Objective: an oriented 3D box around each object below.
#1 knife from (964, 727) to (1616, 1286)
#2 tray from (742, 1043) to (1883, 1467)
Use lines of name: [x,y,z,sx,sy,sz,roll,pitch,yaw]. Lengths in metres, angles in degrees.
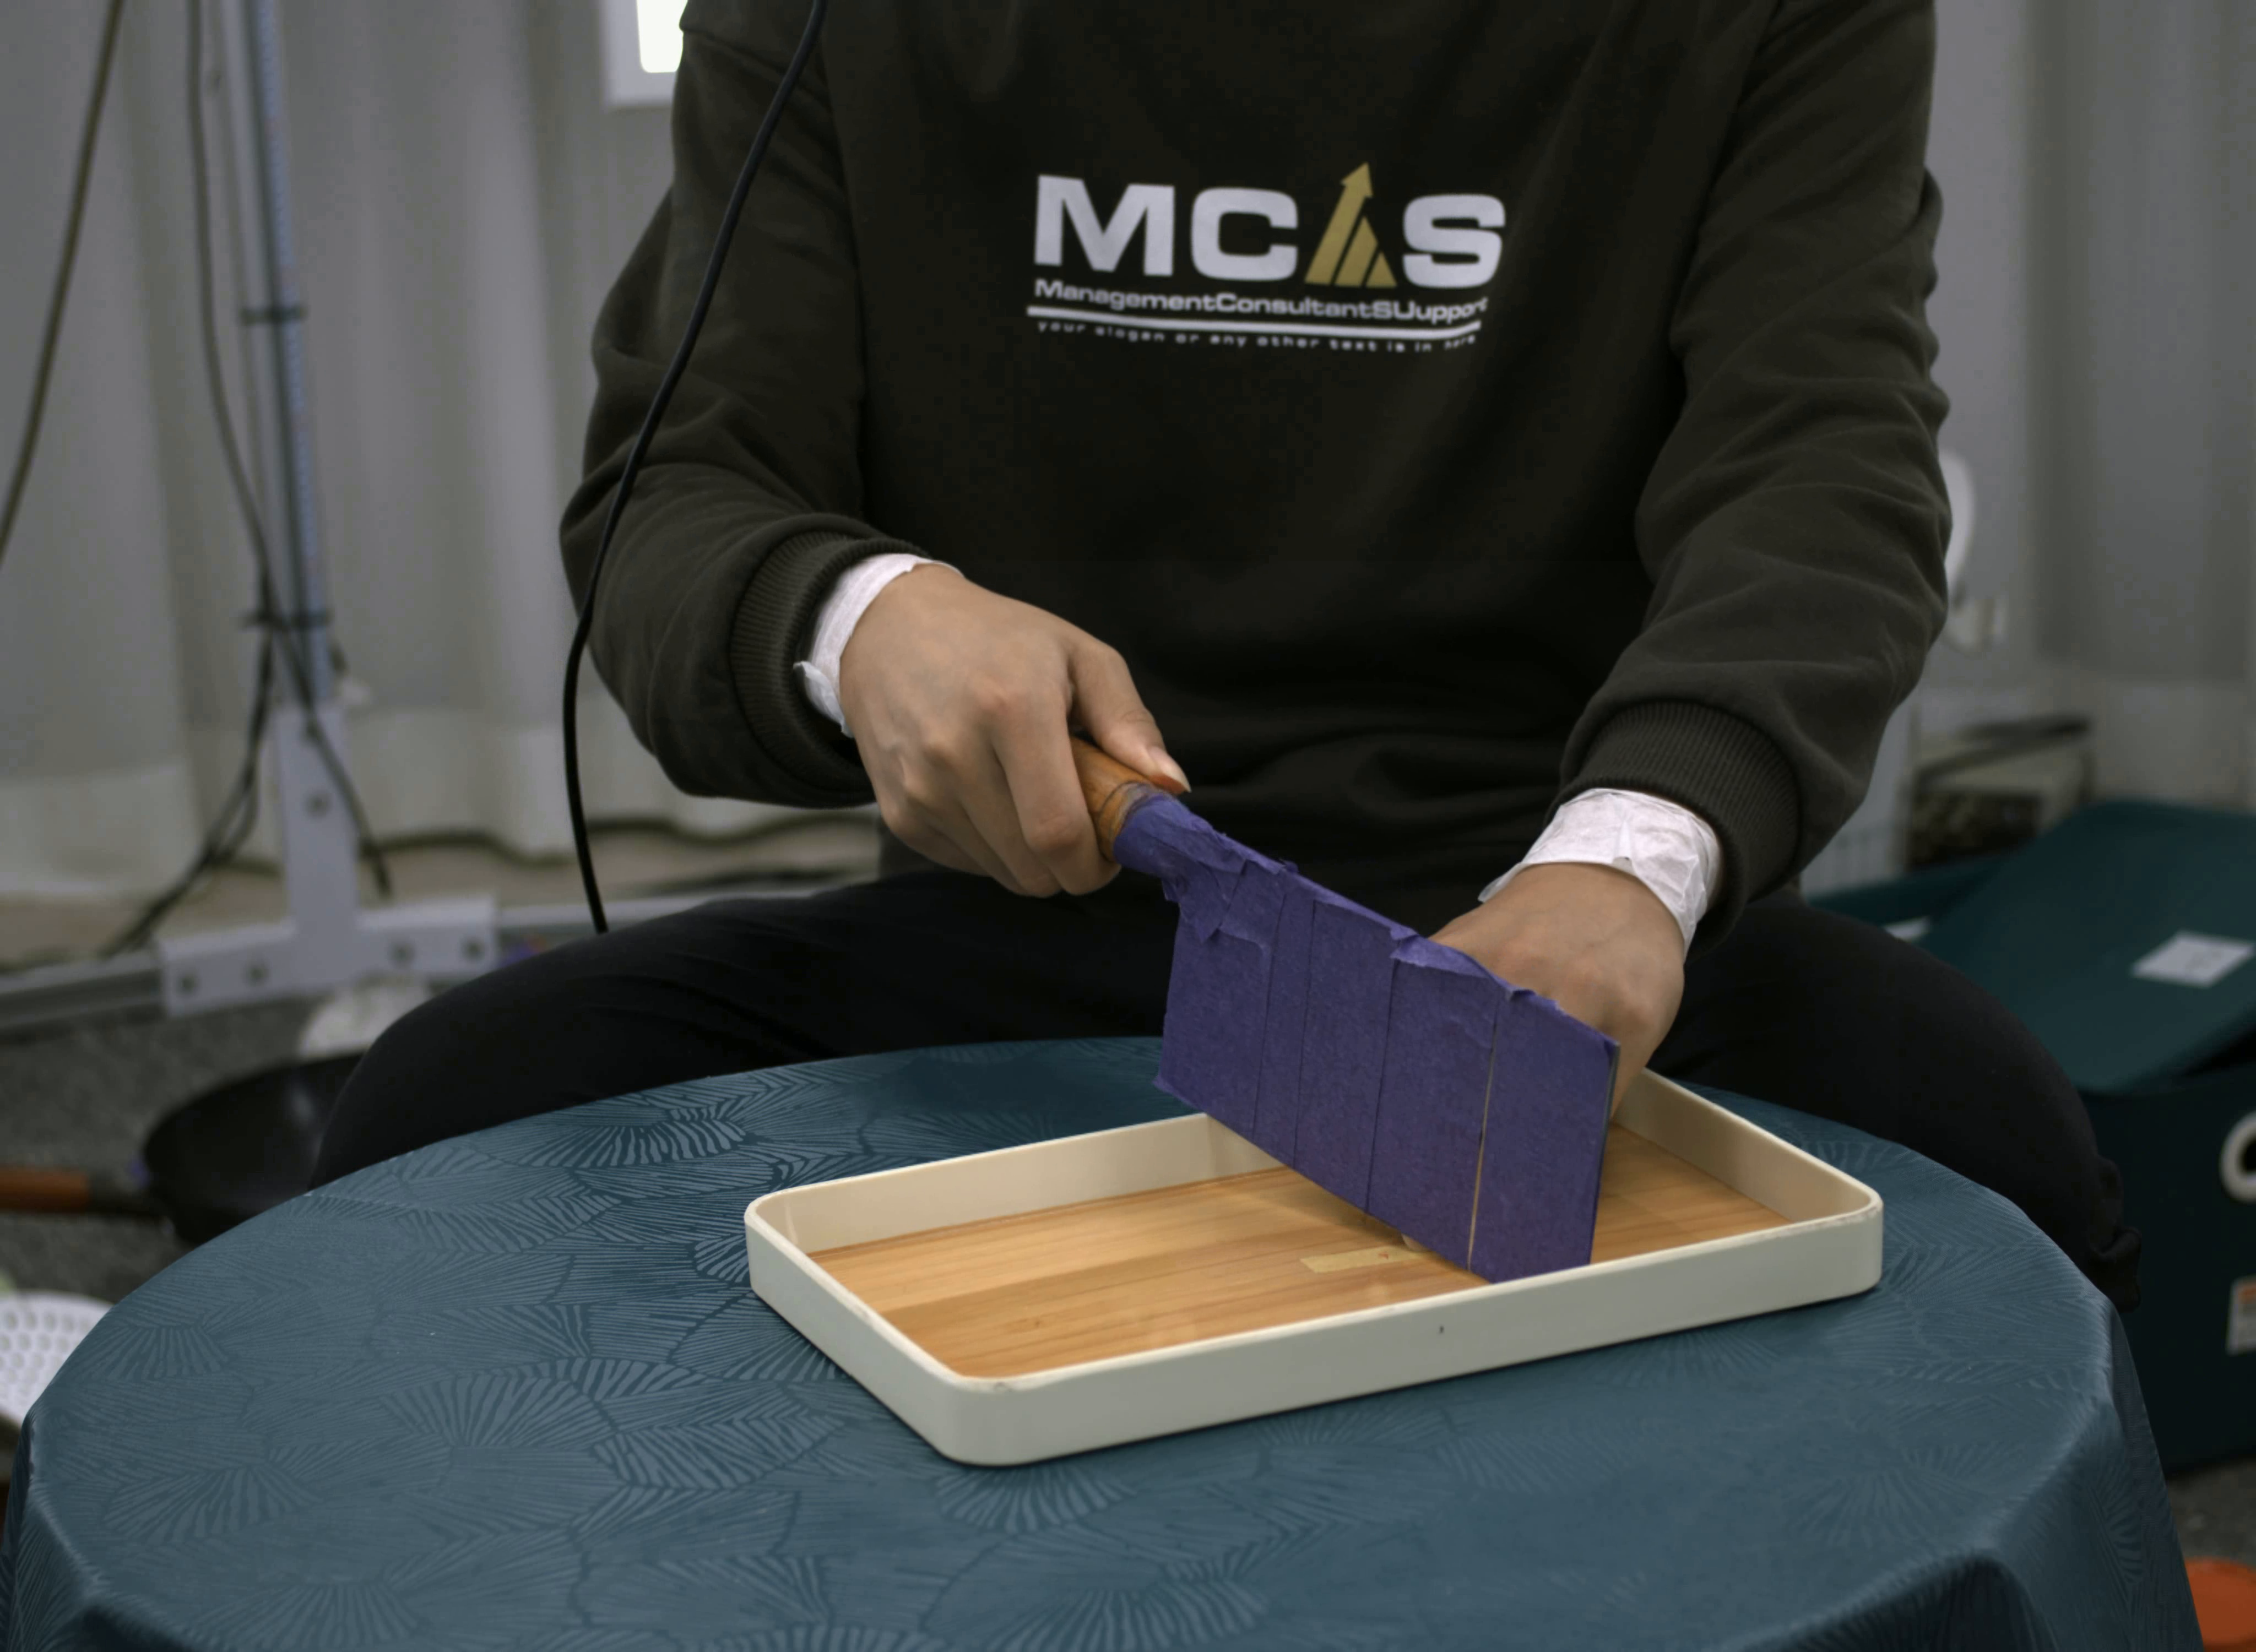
knife: [0.041,0.054,1.670,0.032,0.103,0.318,-2,18,-34]
tray: [0.053,0.123,1.622,0.299,0.027,0.193,-9,17,-22]
